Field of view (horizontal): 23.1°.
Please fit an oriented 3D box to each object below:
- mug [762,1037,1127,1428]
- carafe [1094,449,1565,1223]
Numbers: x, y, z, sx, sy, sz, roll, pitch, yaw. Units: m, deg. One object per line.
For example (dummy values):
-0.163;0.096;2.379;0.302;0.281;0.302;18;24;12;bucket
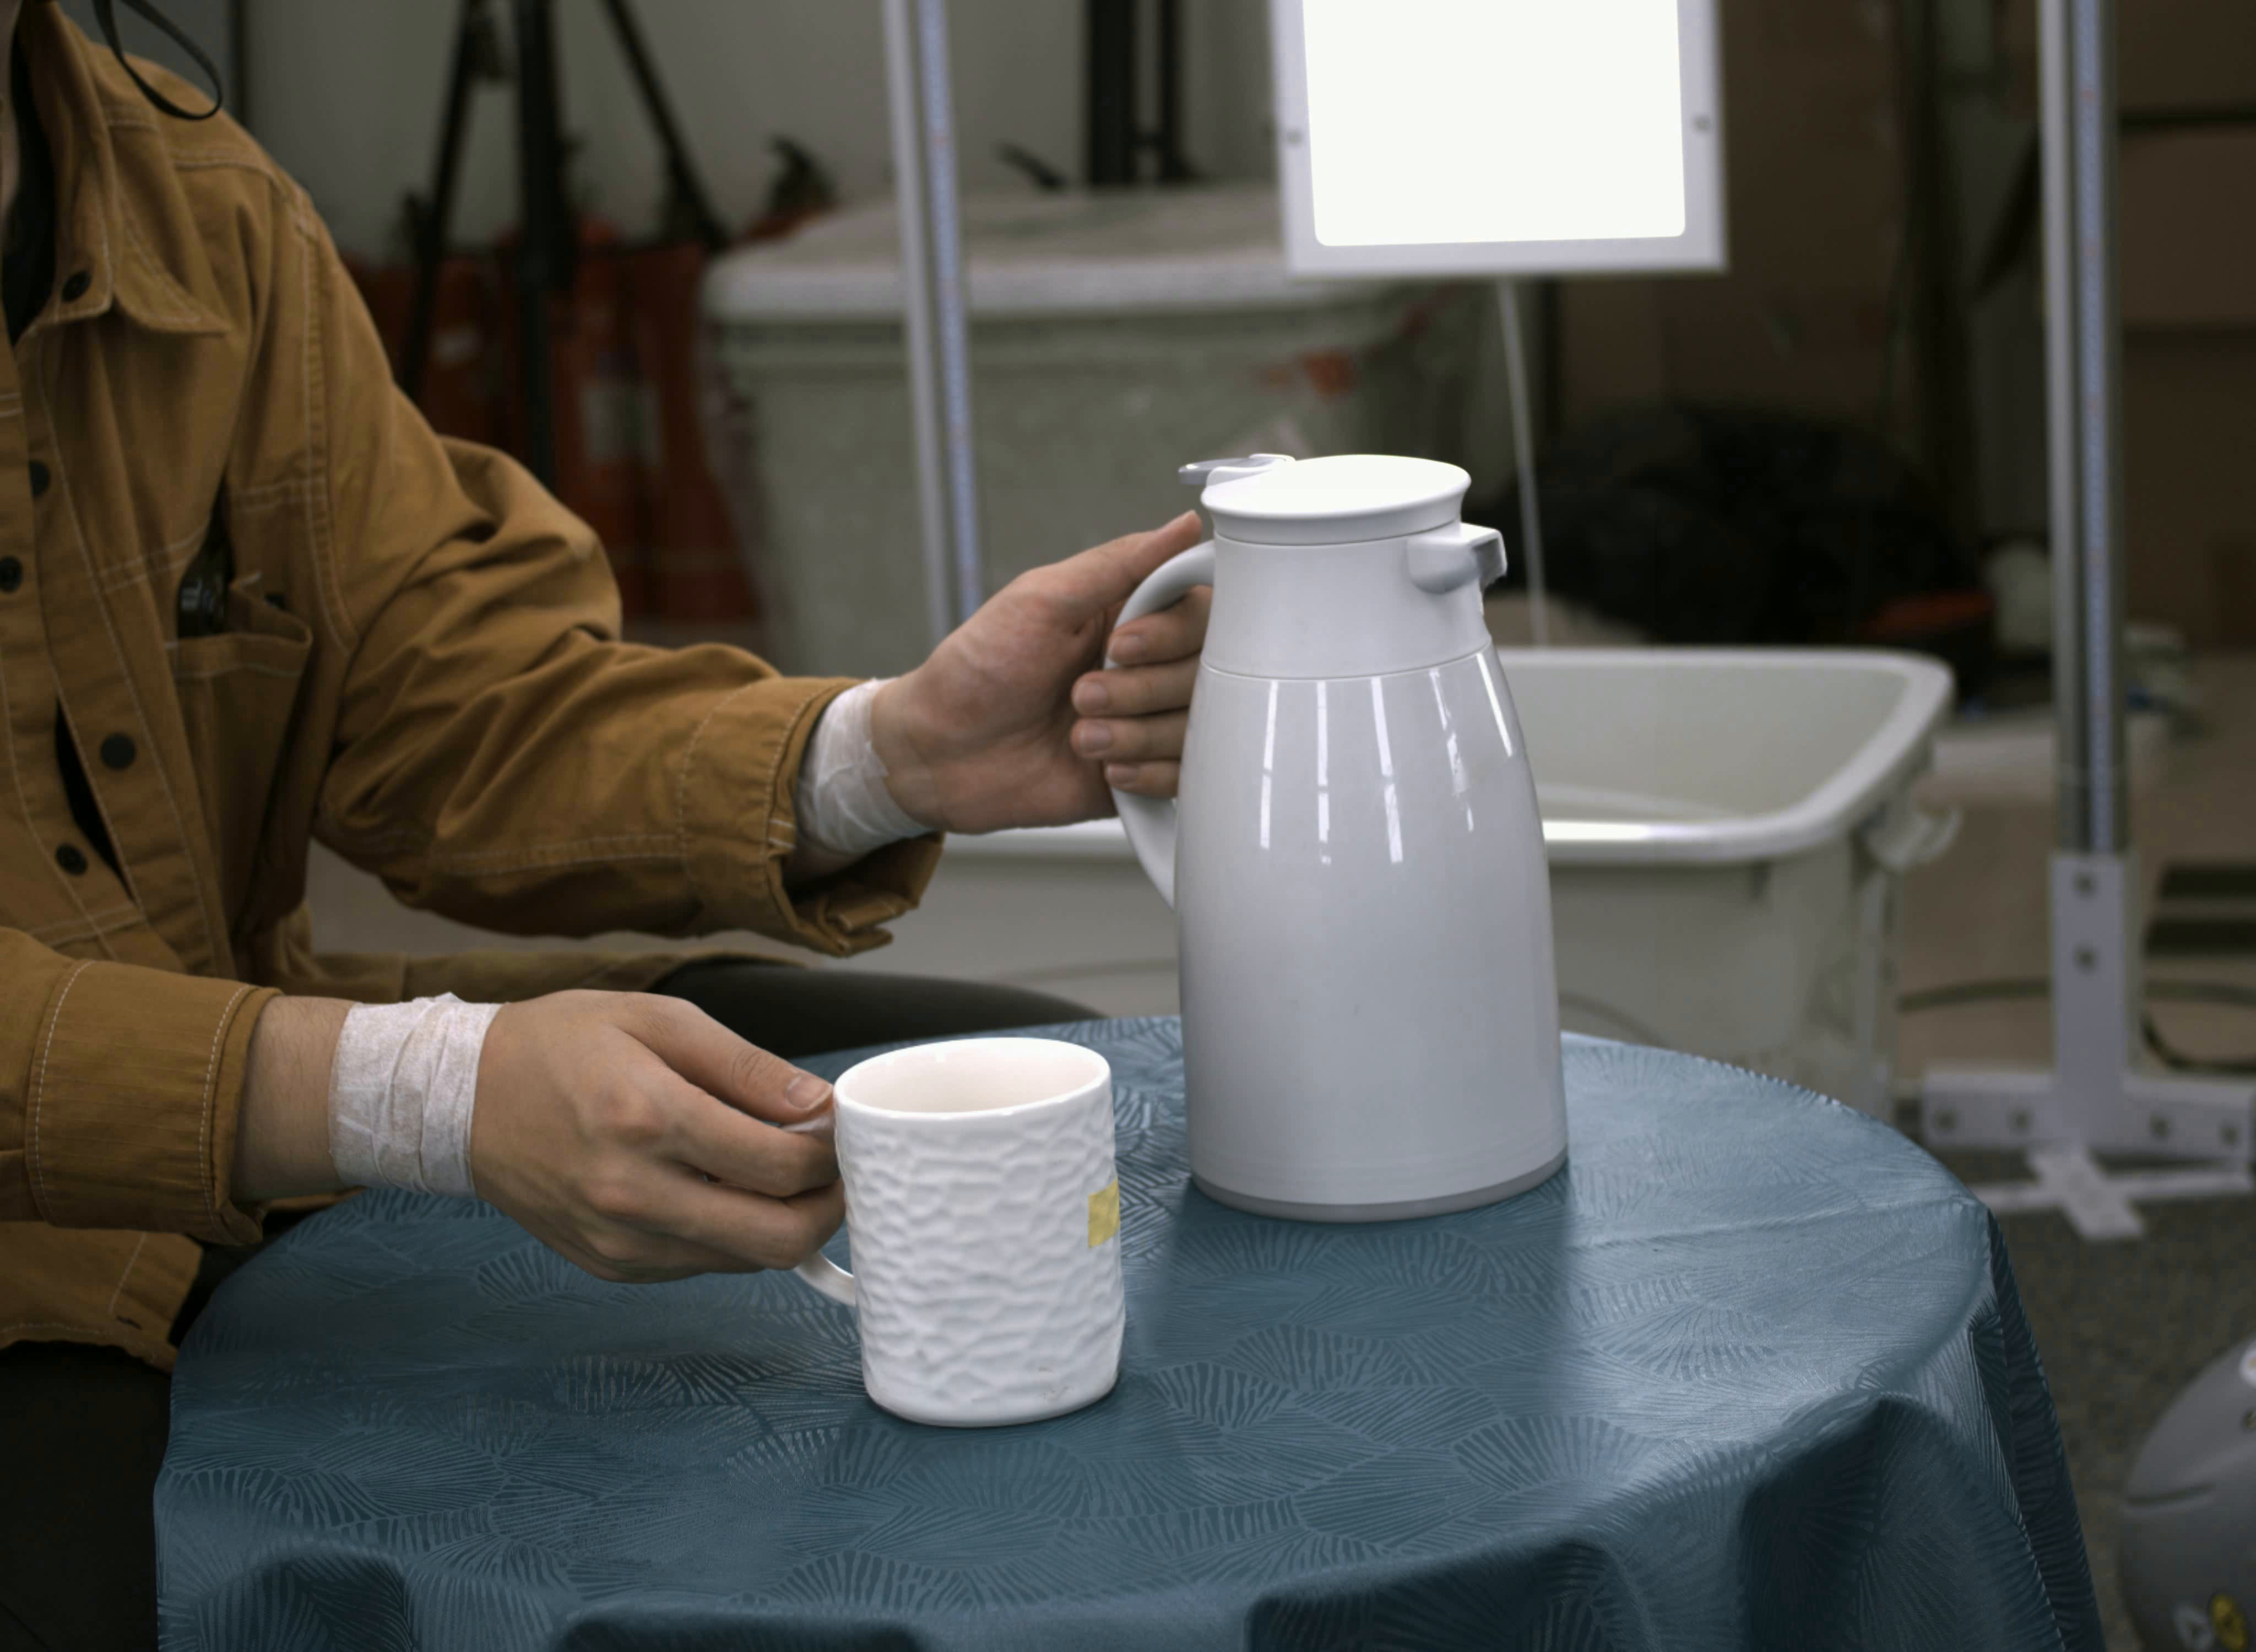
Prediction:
-0.059;0.125;1.713;0.120;0.102;0.083;2;14;28;mug
0.061;-0.004;1.886;0.171;0.249;0.129;6;18;38;carafe
